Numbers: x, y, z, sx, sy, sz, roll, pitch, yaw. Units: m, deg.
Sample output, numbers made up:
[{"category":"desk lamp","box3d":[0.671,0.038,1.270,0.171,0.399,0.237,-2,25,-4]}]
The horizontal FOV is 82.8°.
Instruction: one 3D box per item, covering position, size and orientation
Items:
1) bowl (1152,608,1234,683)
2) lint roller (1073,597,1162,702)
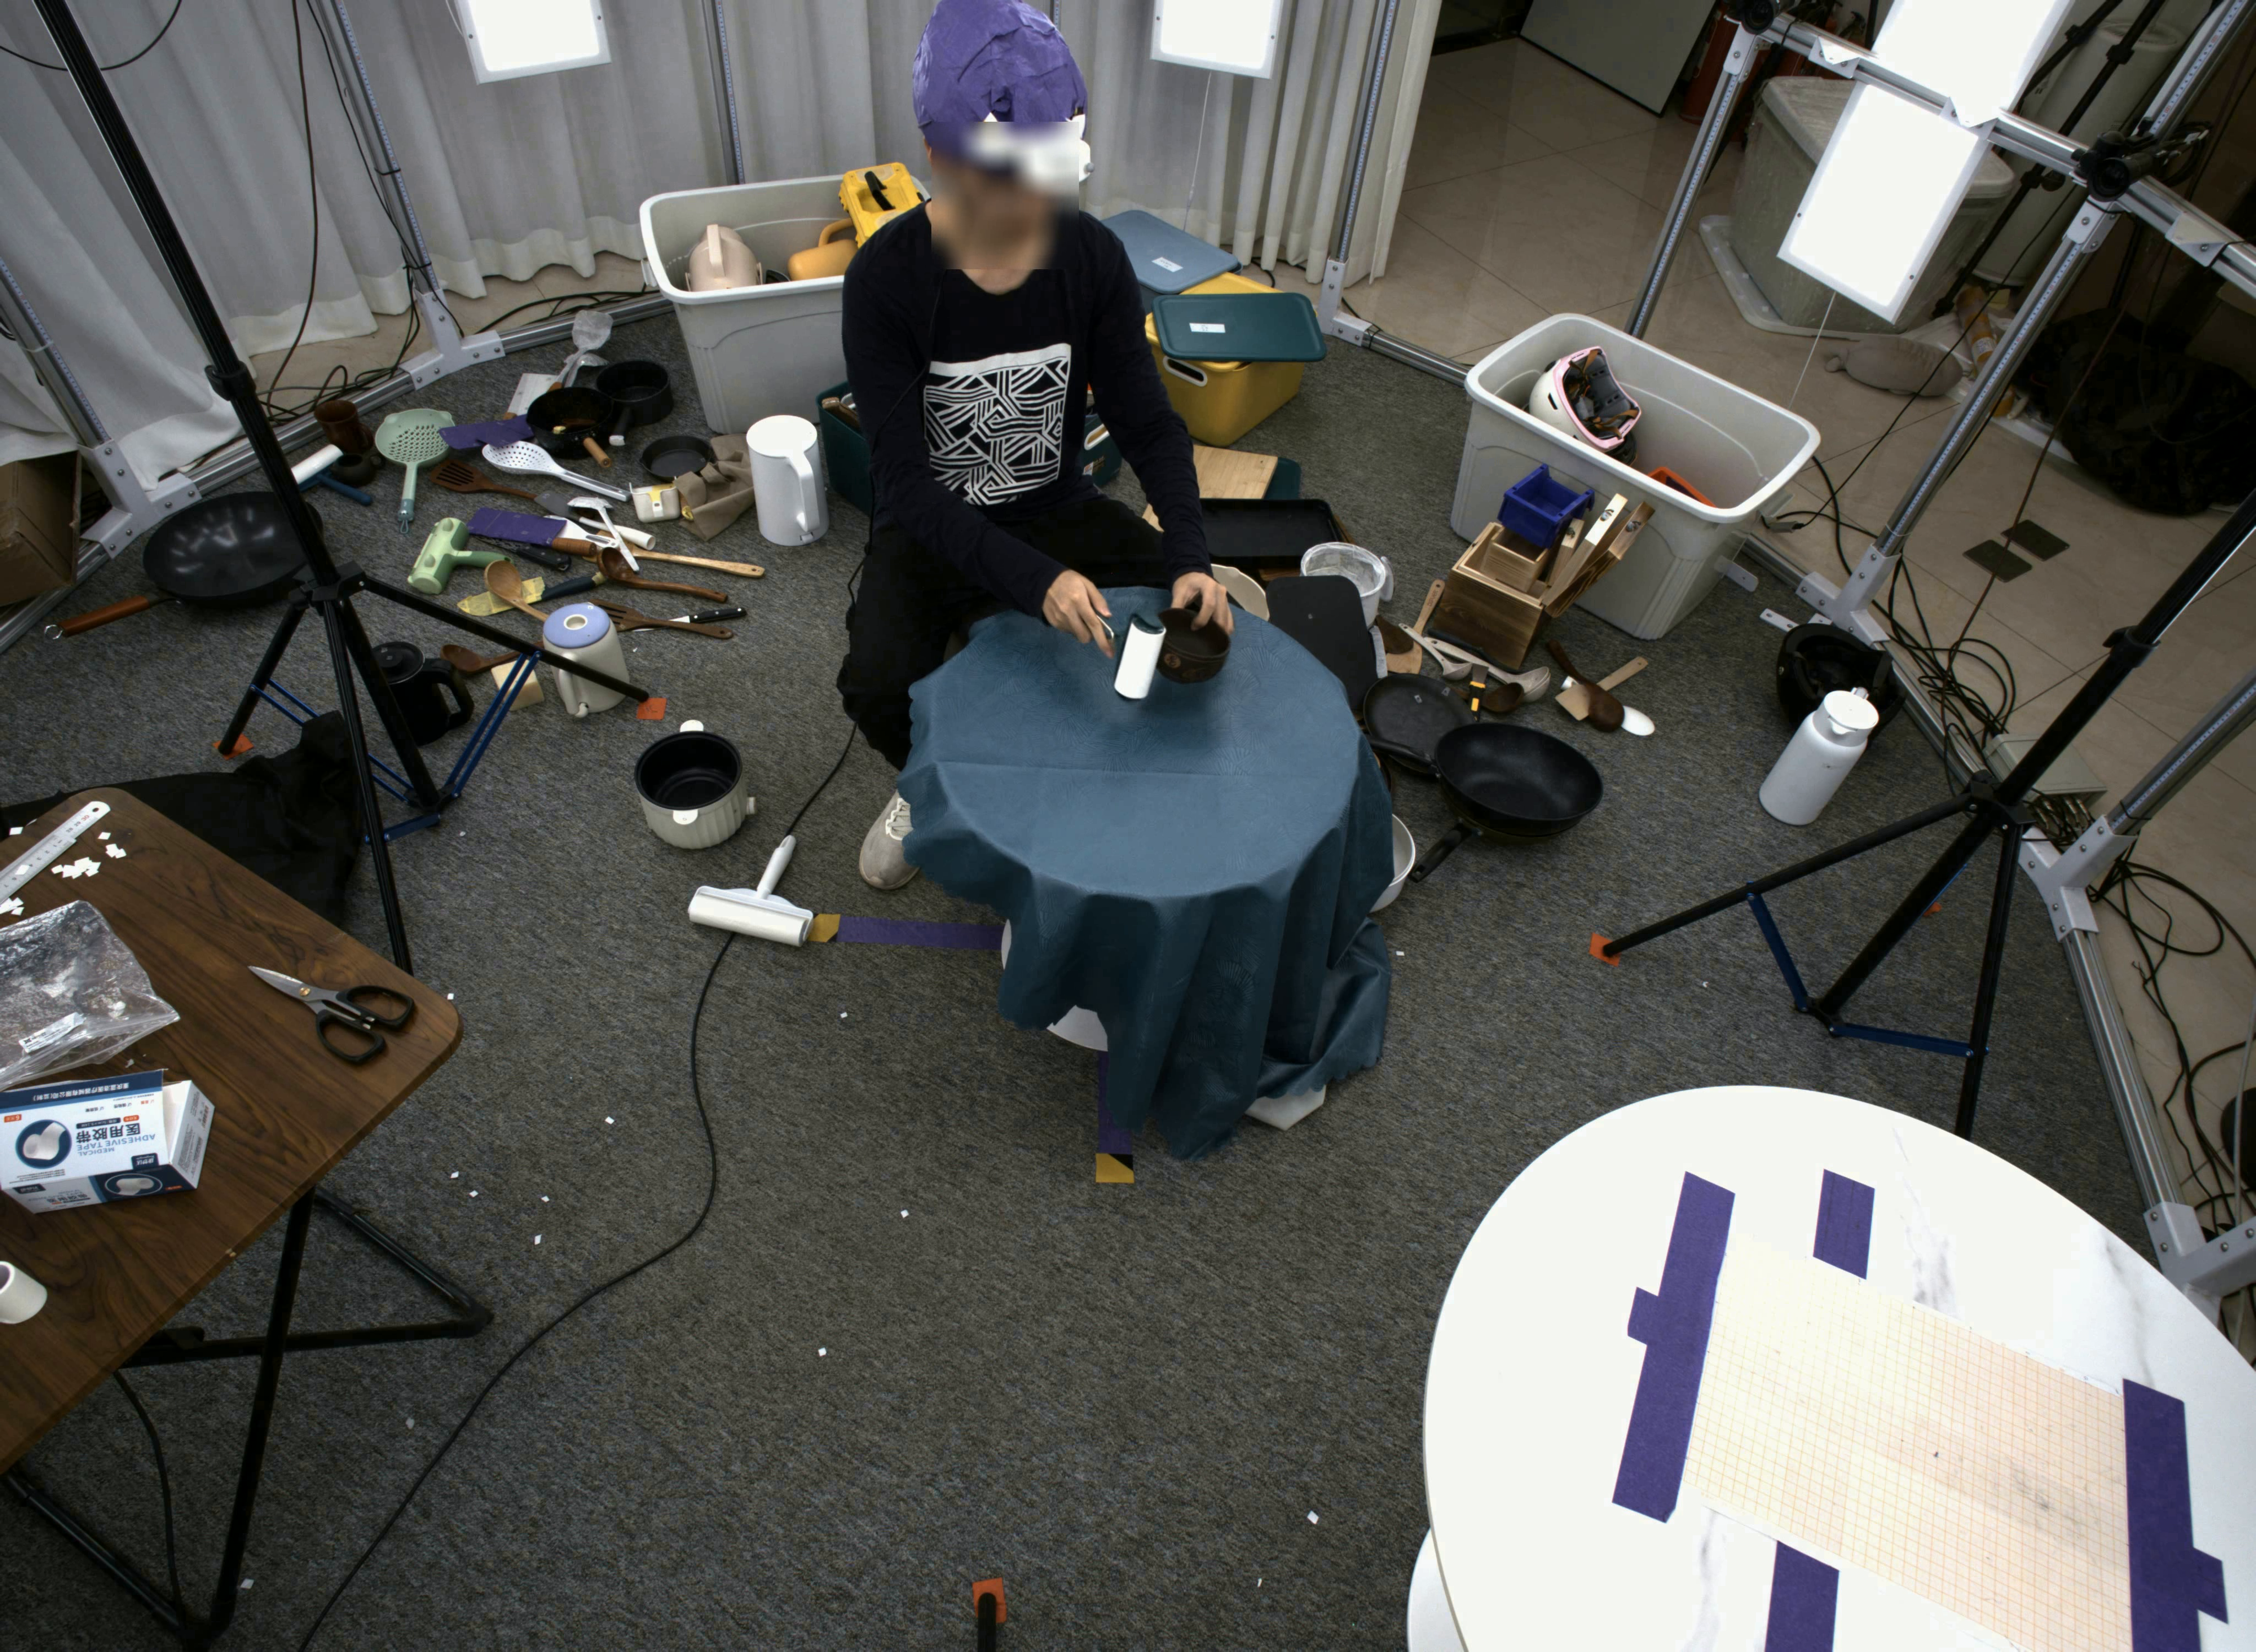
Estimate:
[{"category":"bowl","box3d":[0.081,-0.242,1.776,0.117,0.068,0.121,11,38,-9]},{"category":"lint roller","box3d":[-0.031,-0.265,1.770,0.048,0.131,0.183,-19,47,-40]}]
